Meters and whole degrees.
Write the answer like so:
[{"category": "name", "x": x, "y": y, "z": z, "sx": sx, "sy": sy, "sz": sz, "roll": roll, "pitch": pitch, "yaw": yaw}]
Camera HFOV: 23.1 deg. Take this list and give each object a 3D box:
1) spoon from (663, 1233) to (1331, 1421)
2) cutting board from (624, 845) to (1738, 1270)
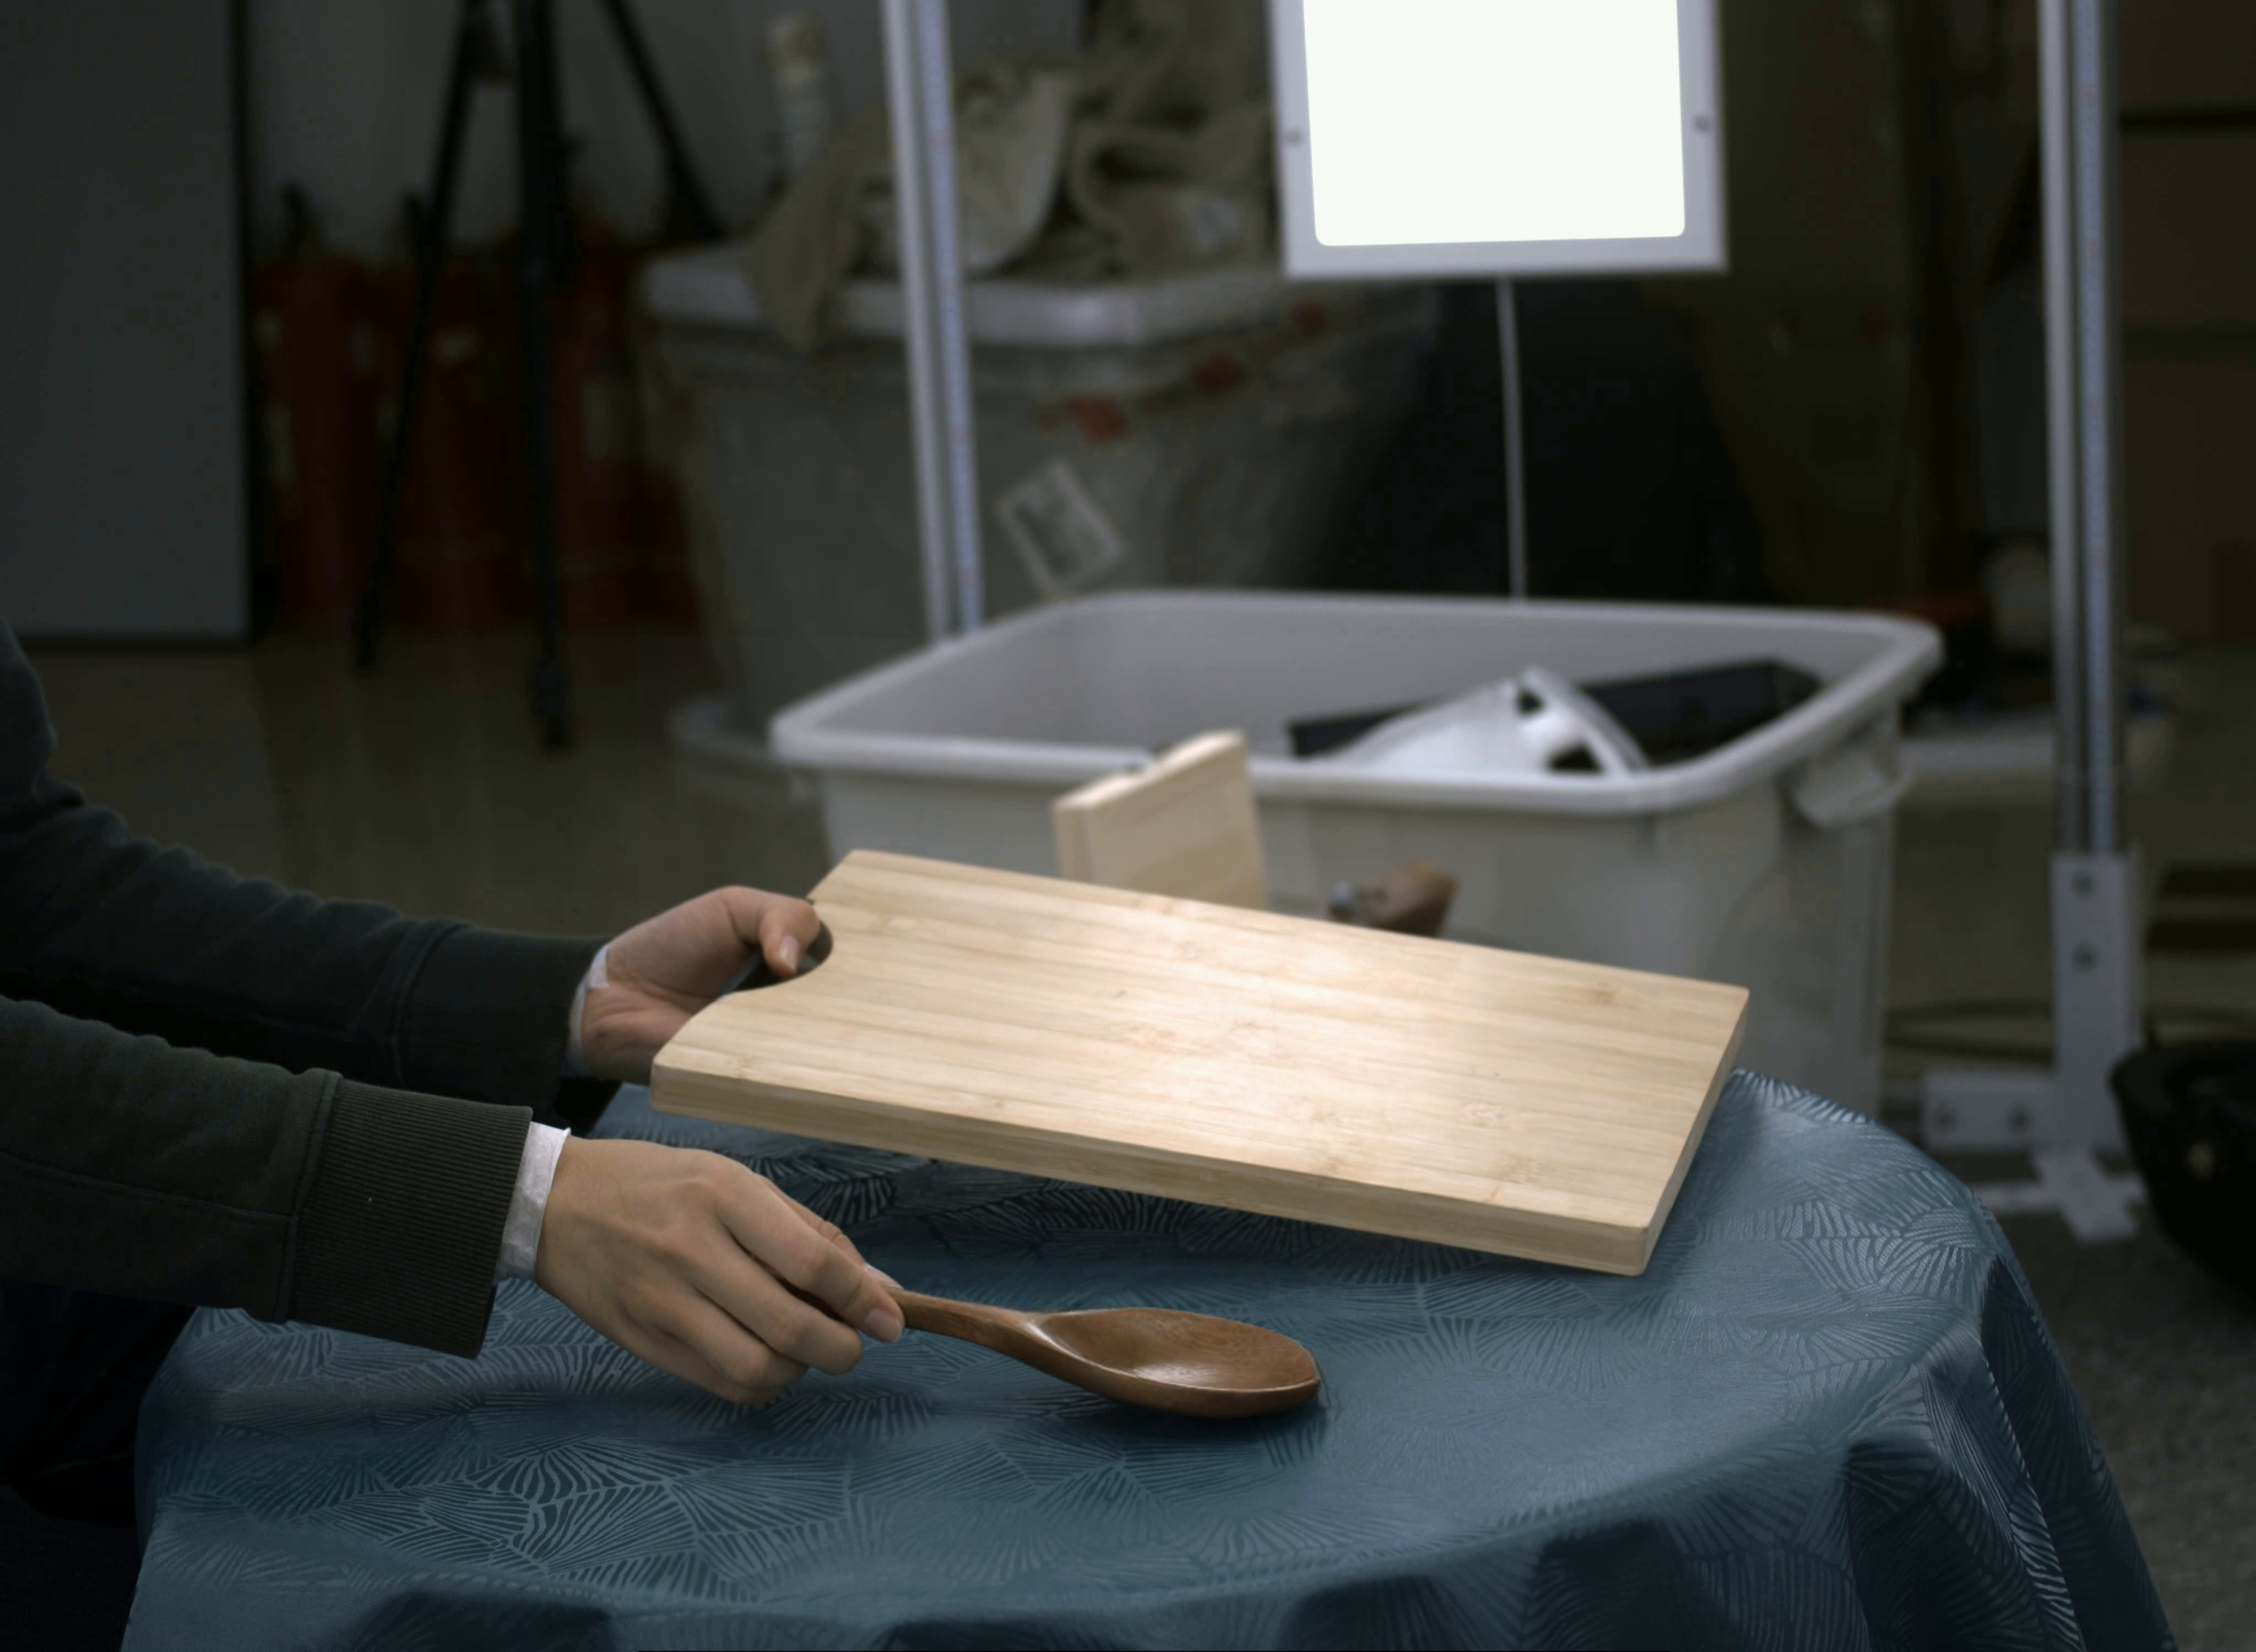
[{"category": "spoon", "x": -0.042, "y": 0.154, "z": 1.701, "sx": 0.218, "sy": 0.017, "sz": 0.074, "roll": 11, "pitch": 16, "yaw": 16}, {"category": "cutting board", "x": 0.025, "y": 0.076, "z": 1.914, "sx": 0.351, "sy": 0.024, "sz": 0.247, "roll": 8, "pitch": 19, "yaw": 13}]
